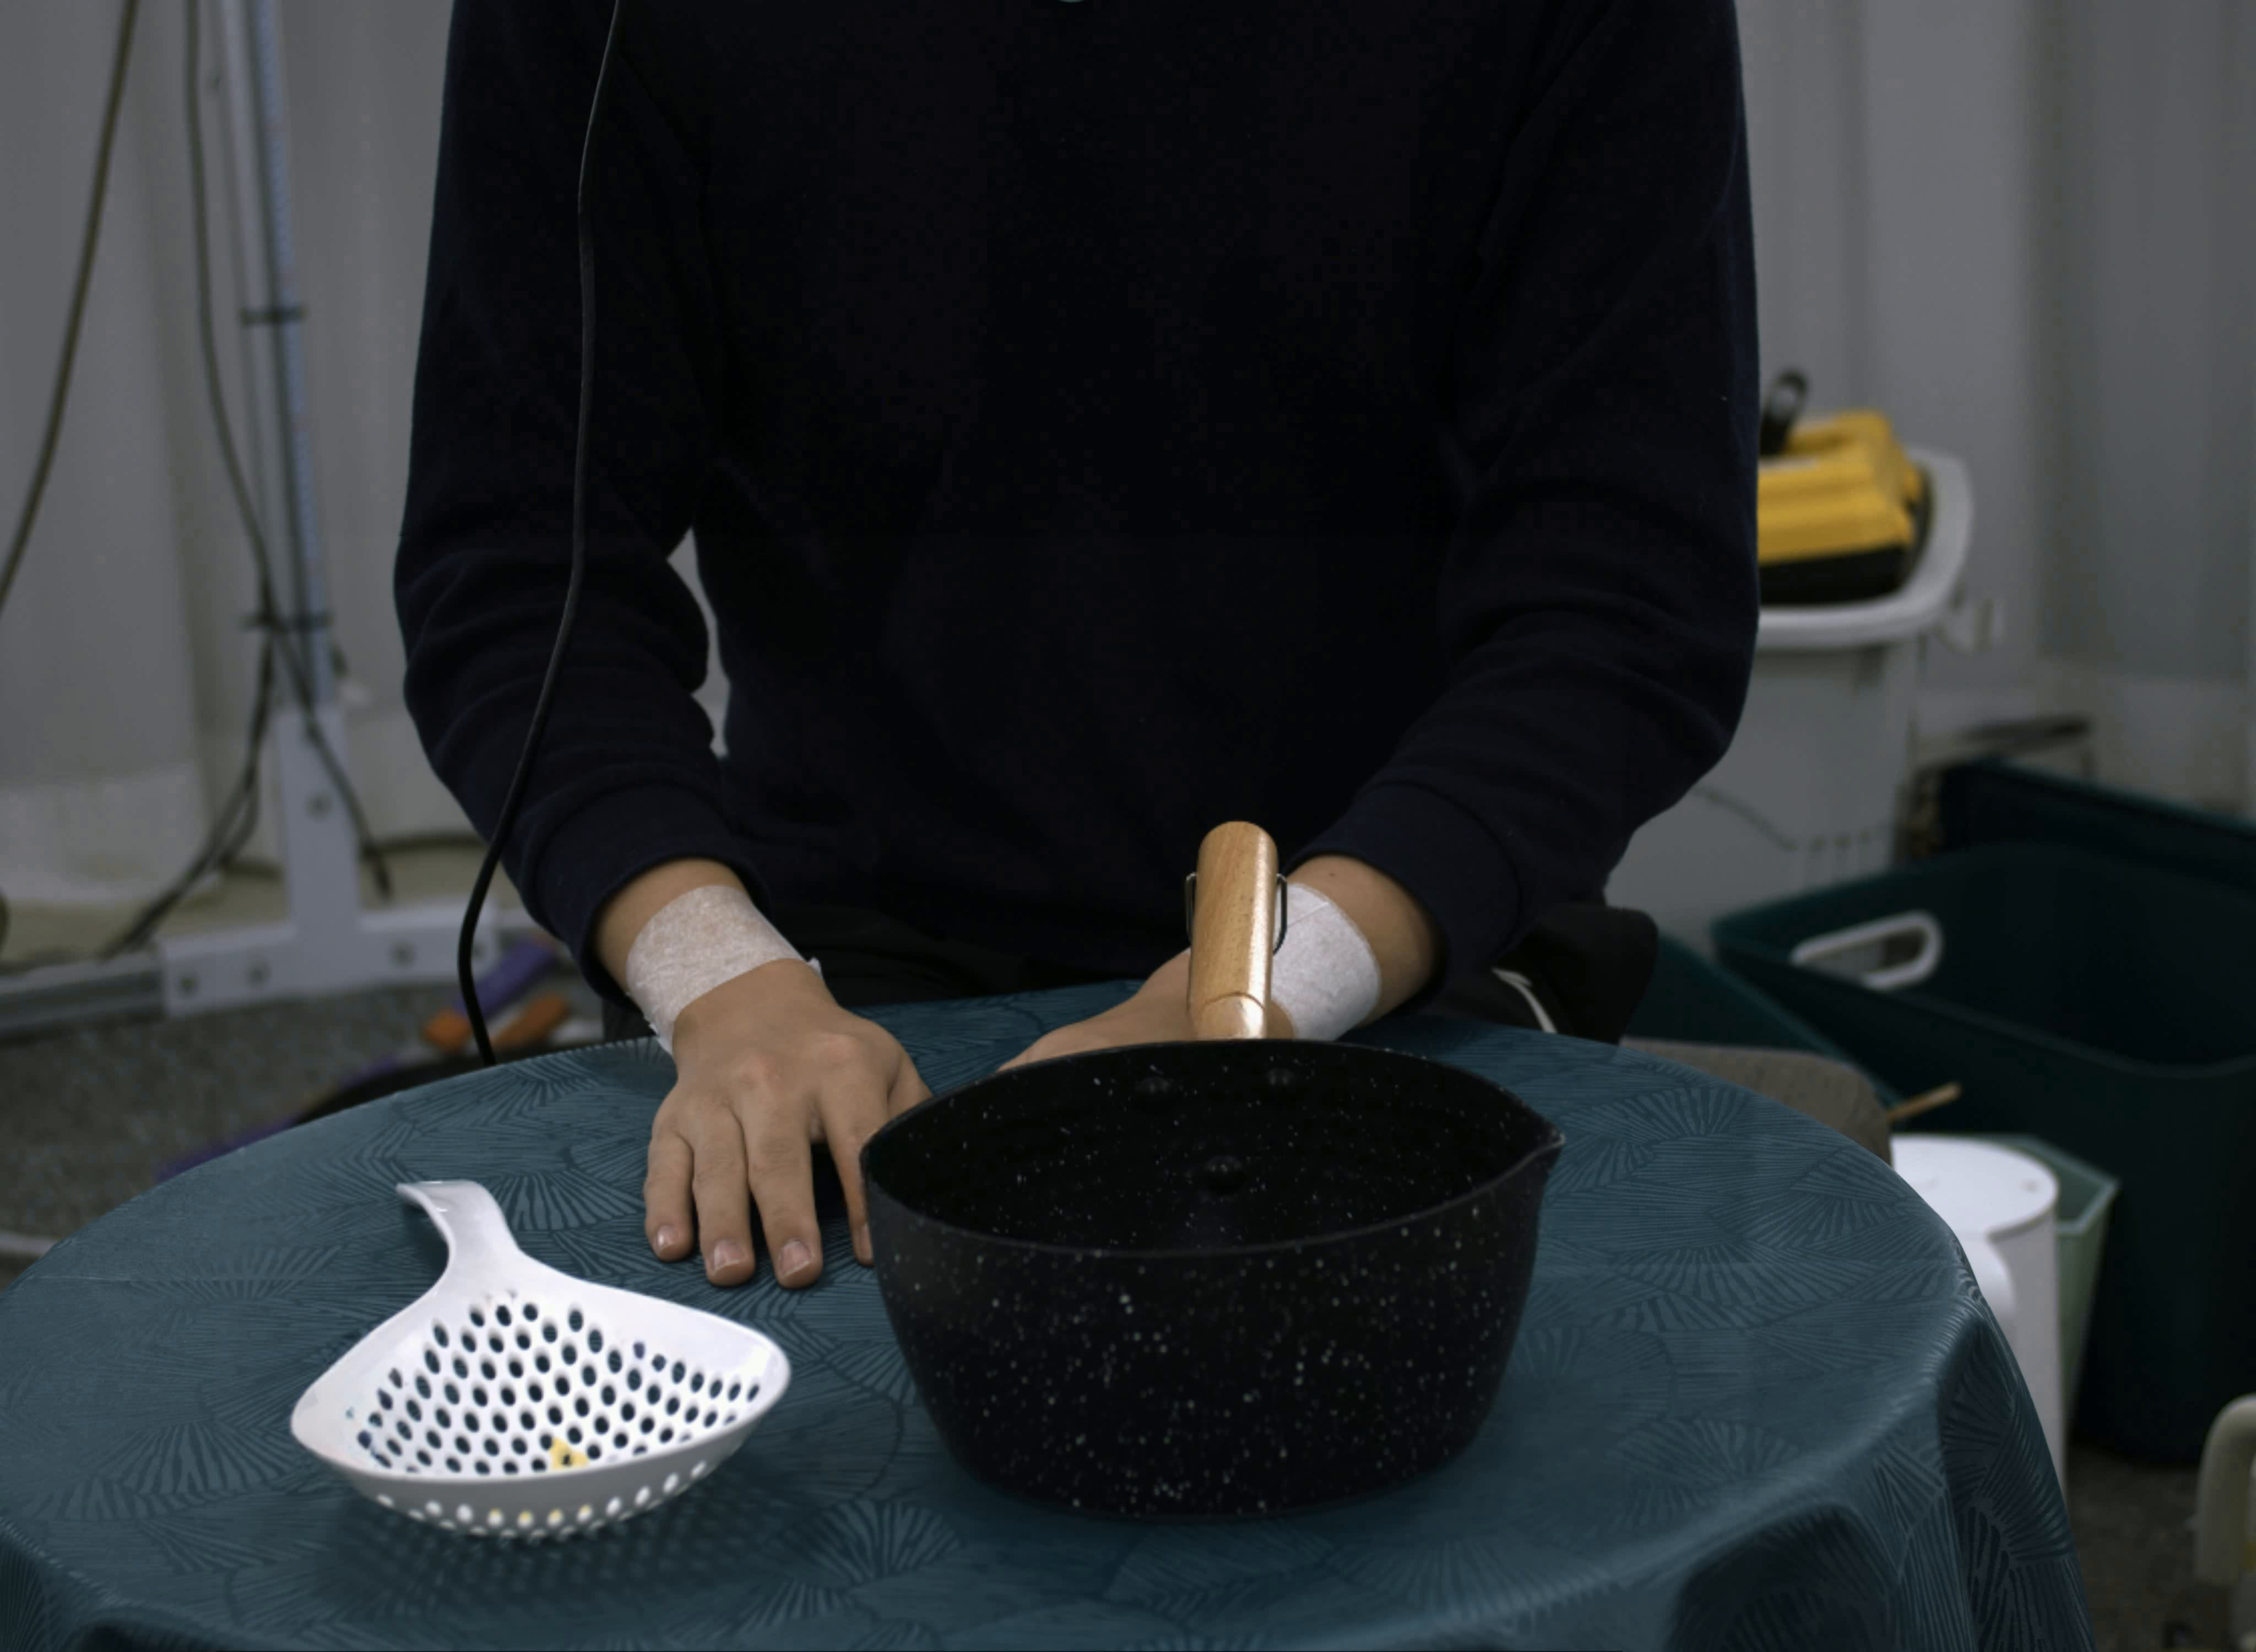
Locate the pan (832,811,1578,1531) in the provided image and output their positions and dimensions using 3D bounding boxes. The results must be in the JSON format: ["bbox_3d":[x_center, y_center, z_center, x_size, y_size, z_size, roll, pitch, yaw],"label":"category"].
[{"bbox_3d":[0.025,0.094,1.581,0.207,0.108,0.345,-3,16,4],"label":"pan"}]

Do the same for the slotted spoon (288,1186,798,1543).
[{"bbox_3d":[-0.184,0.140,1.575,0.136,0.050,0.351,-9,17,-13],"label":"slotted spoon"}]
